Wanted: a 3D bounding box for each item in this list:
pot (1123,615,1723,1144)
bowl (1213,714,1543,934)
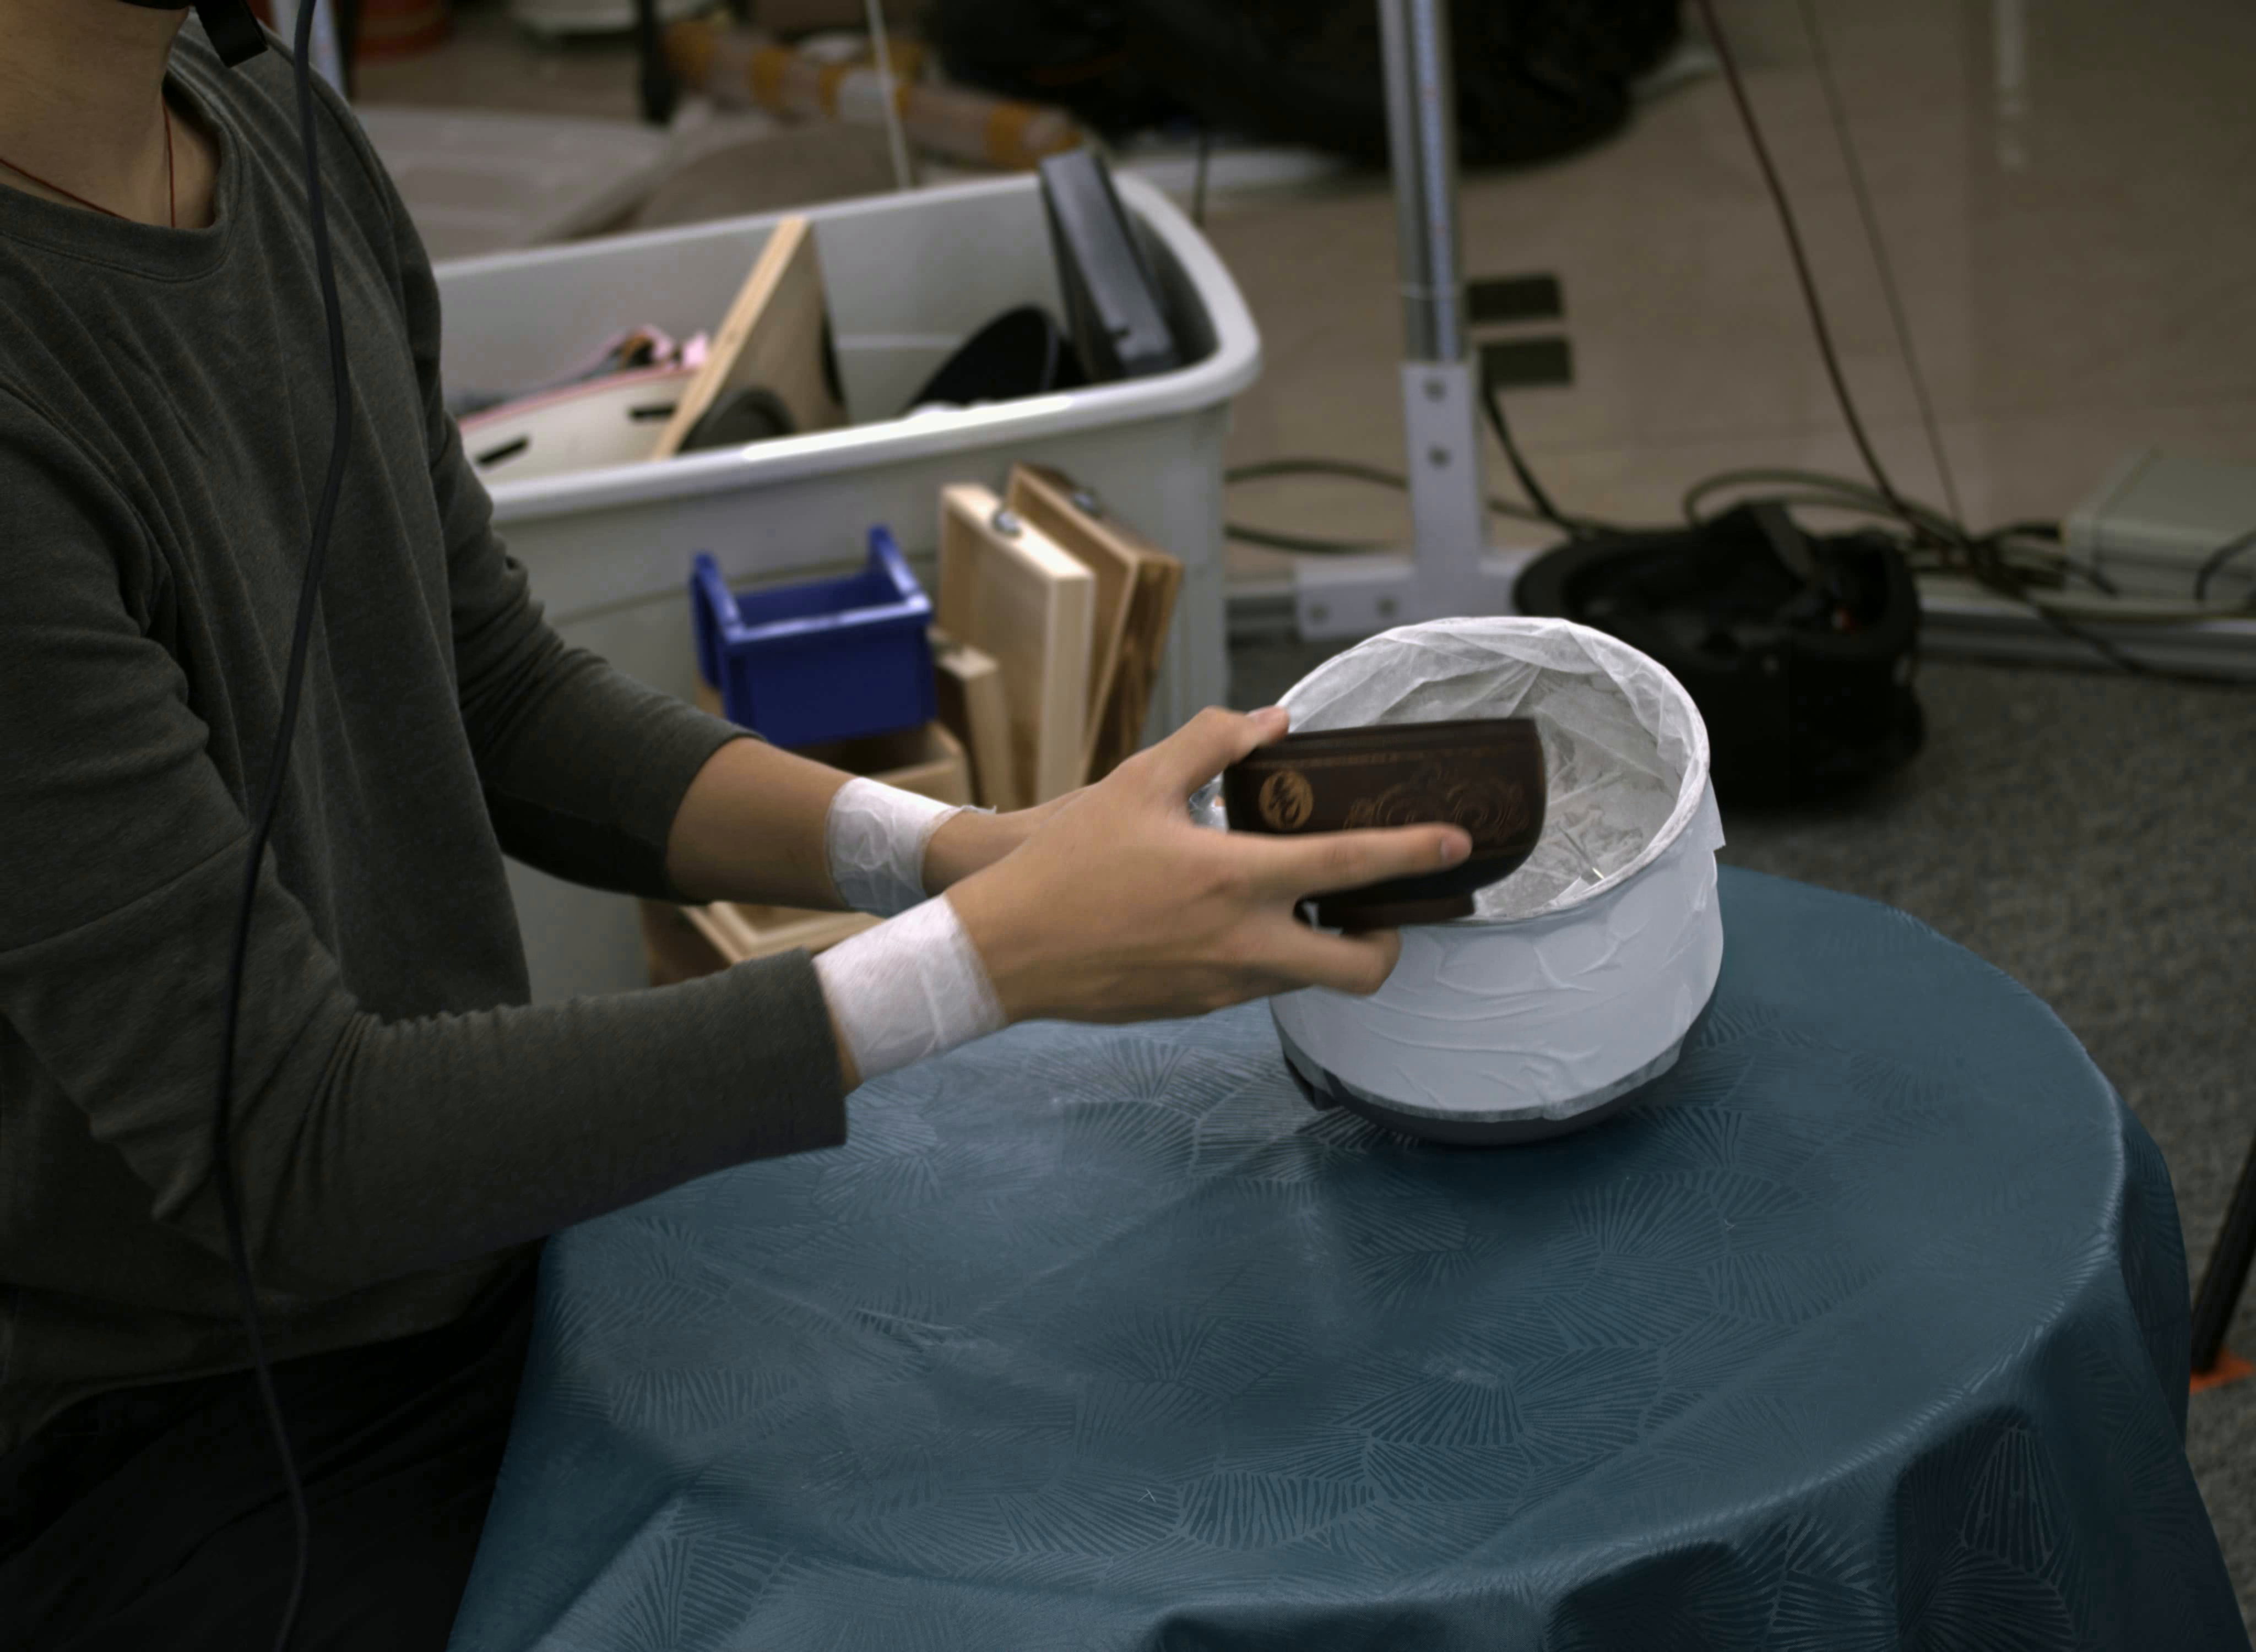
[{"bbox_3d":[0.110,0.024,2.169,0.233,0.139,0.175,-1,41,8],"label":"pot"},{"bbox_3d":[0.091,0.001,2.029,0.118,0.070,0.117,-6,6,1],"label":"bowl"}]
